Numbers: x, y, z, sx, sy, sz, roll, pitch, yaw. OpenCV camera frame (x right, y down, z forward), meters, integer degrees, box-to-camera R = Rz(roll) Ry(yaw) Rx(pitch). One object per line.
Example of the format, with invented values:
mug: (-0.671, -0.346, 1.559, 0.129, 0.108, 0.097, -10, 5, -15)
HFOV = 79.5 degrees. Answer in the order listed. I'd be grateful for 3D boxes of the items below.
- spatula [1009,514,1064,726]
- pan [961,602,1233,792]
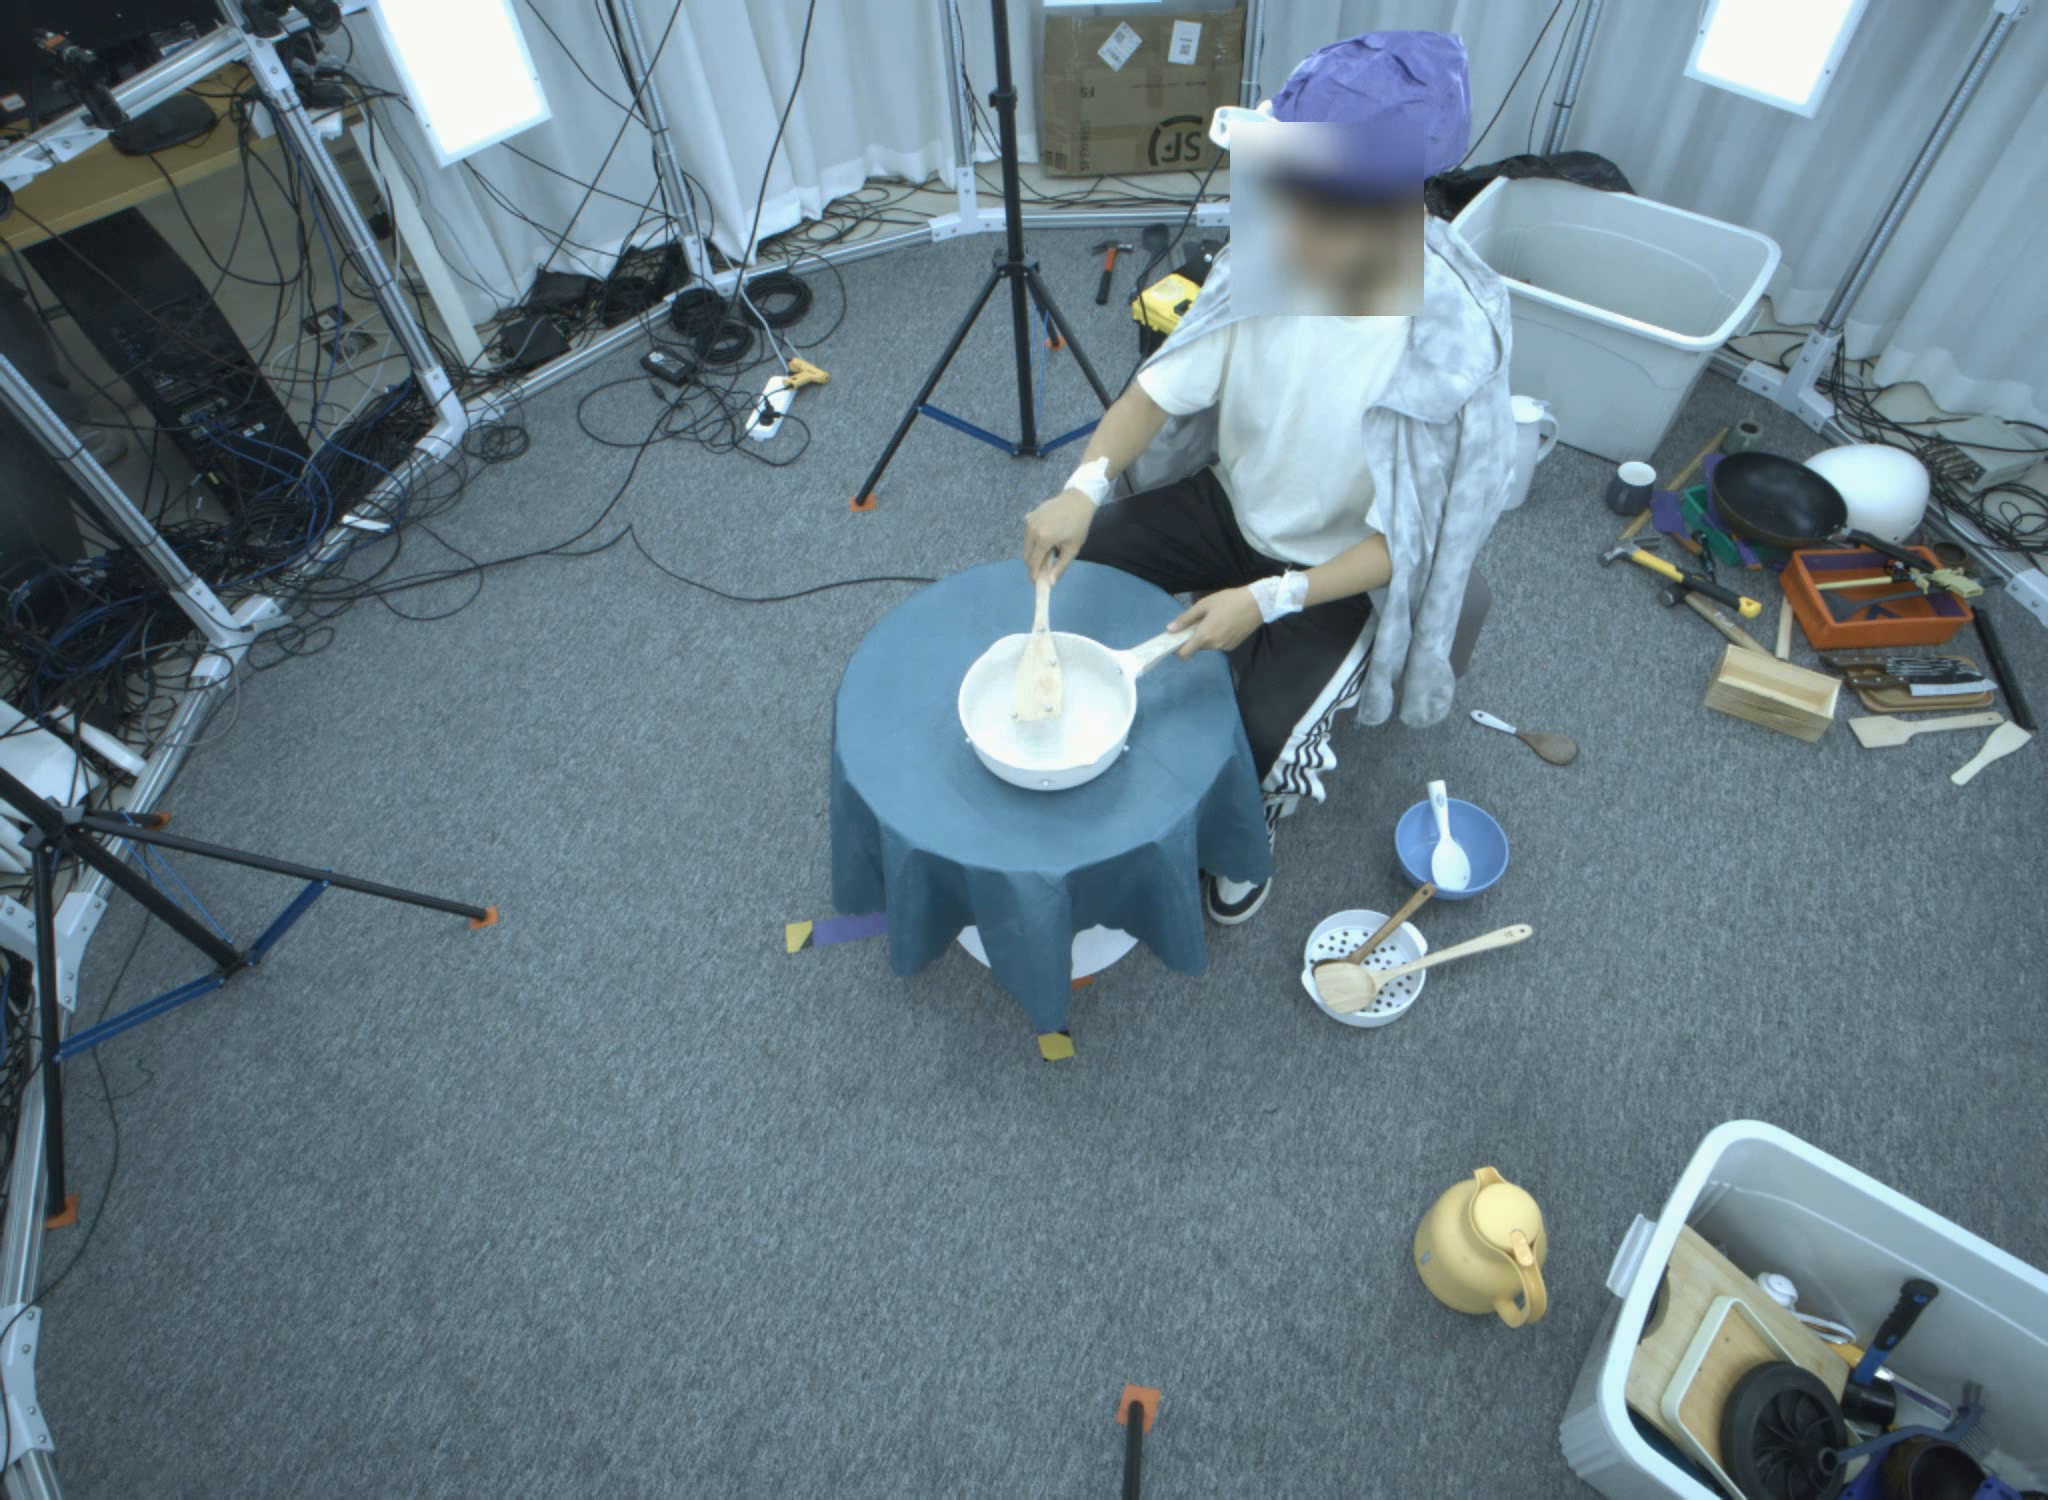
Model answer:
spatula: (0.026, -0.191, 1.768, 0.079, 0.017, 0.326, 0, 77, 15)
pan: (0.118, -0.090, 1.787, 0.438, 0.103, 0.258, -25, 56, -15)
